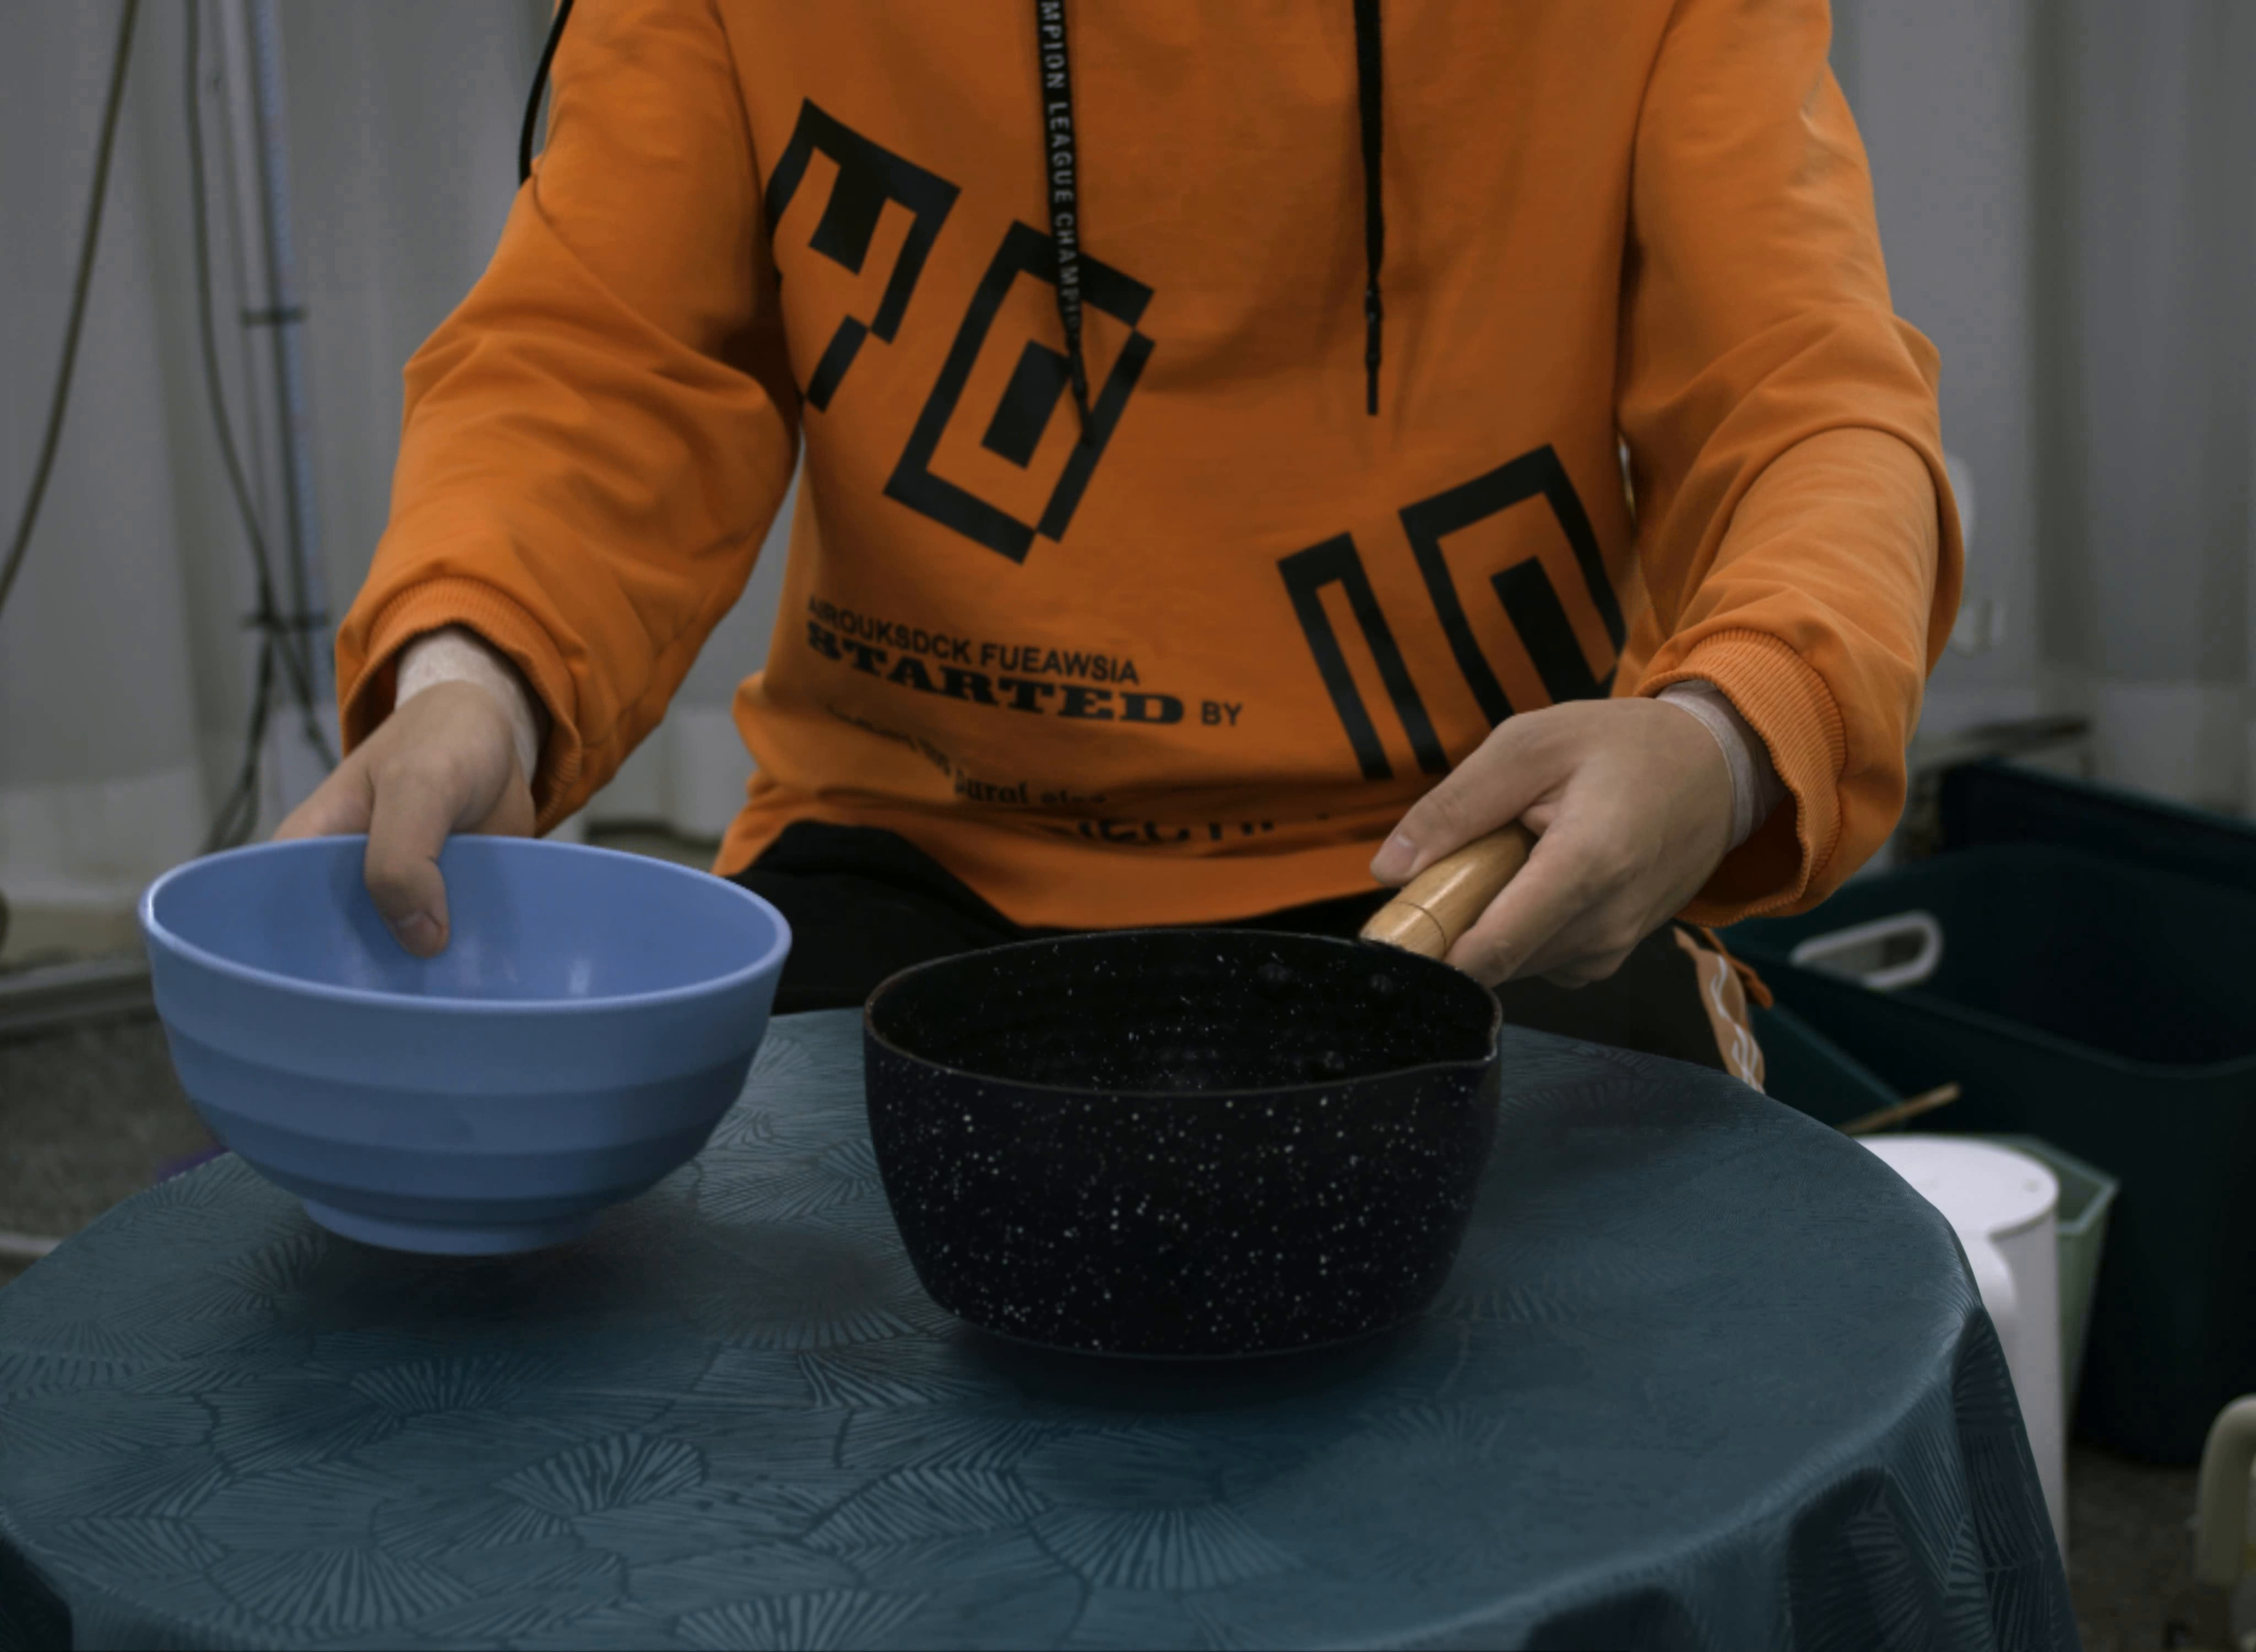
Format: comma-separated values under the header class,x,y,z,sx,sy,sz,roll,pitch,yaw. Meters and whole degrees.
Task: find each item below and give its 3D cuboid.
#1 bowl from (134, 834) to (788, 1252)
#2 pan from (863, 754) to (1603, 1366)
class,x,y,z,sx,sy,sz,roll,pitch,yaw
bowl,-0.204,0.070,1.658,0.196,0.095,0.197,4,13,-1
pan,0.056,0.065,1.644,0.208,0.108,0.343,6,15,30
